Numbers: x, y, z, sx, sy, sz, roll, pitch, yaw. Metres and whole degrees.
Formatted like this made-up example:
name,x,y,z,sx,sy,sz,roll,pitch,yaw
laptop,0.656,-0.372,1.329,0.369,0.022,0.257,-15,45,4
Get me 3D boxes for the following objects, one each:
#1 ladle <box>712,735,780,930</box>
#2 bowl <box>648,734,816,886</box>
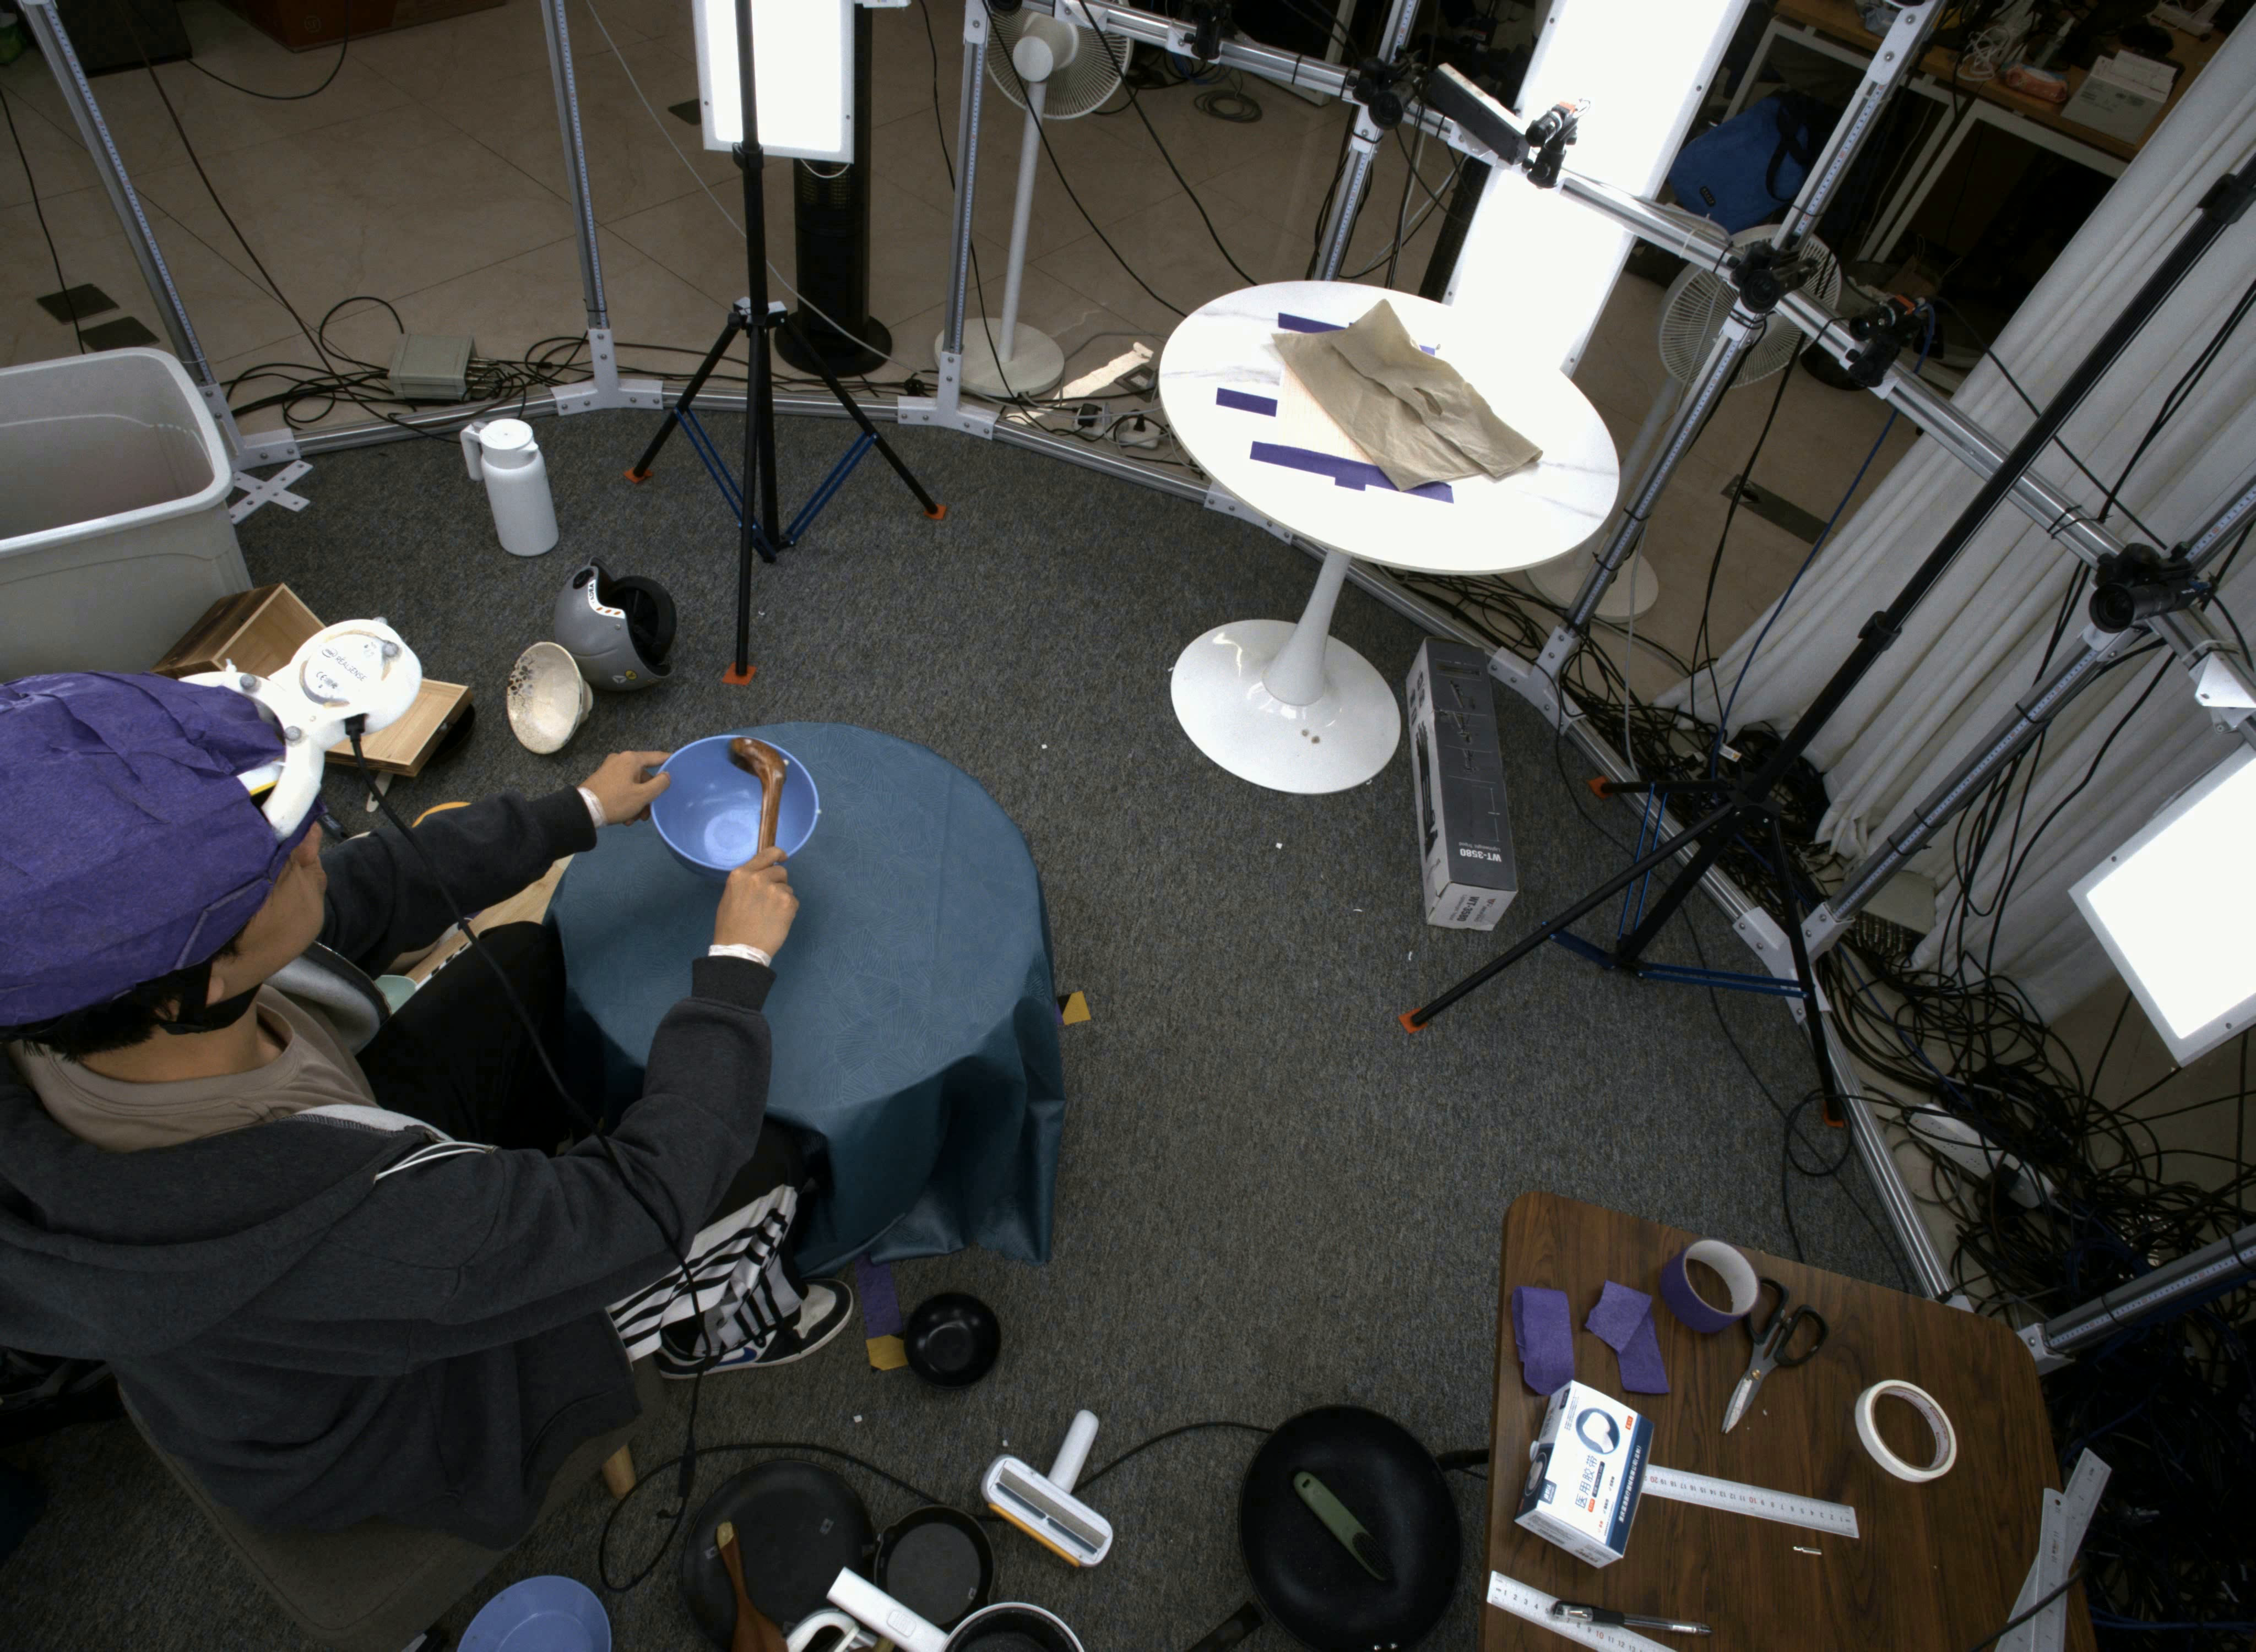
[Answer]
name,x,y,z,sx,sy,sz,roll,pitch,yaw
ladle,-0.416,0.008,1.407,0.085,0.075,0.268,37,33,-45
bowl,-0.482,-0.005,1.570,0.197,0.096,0.193,11,55,-14
